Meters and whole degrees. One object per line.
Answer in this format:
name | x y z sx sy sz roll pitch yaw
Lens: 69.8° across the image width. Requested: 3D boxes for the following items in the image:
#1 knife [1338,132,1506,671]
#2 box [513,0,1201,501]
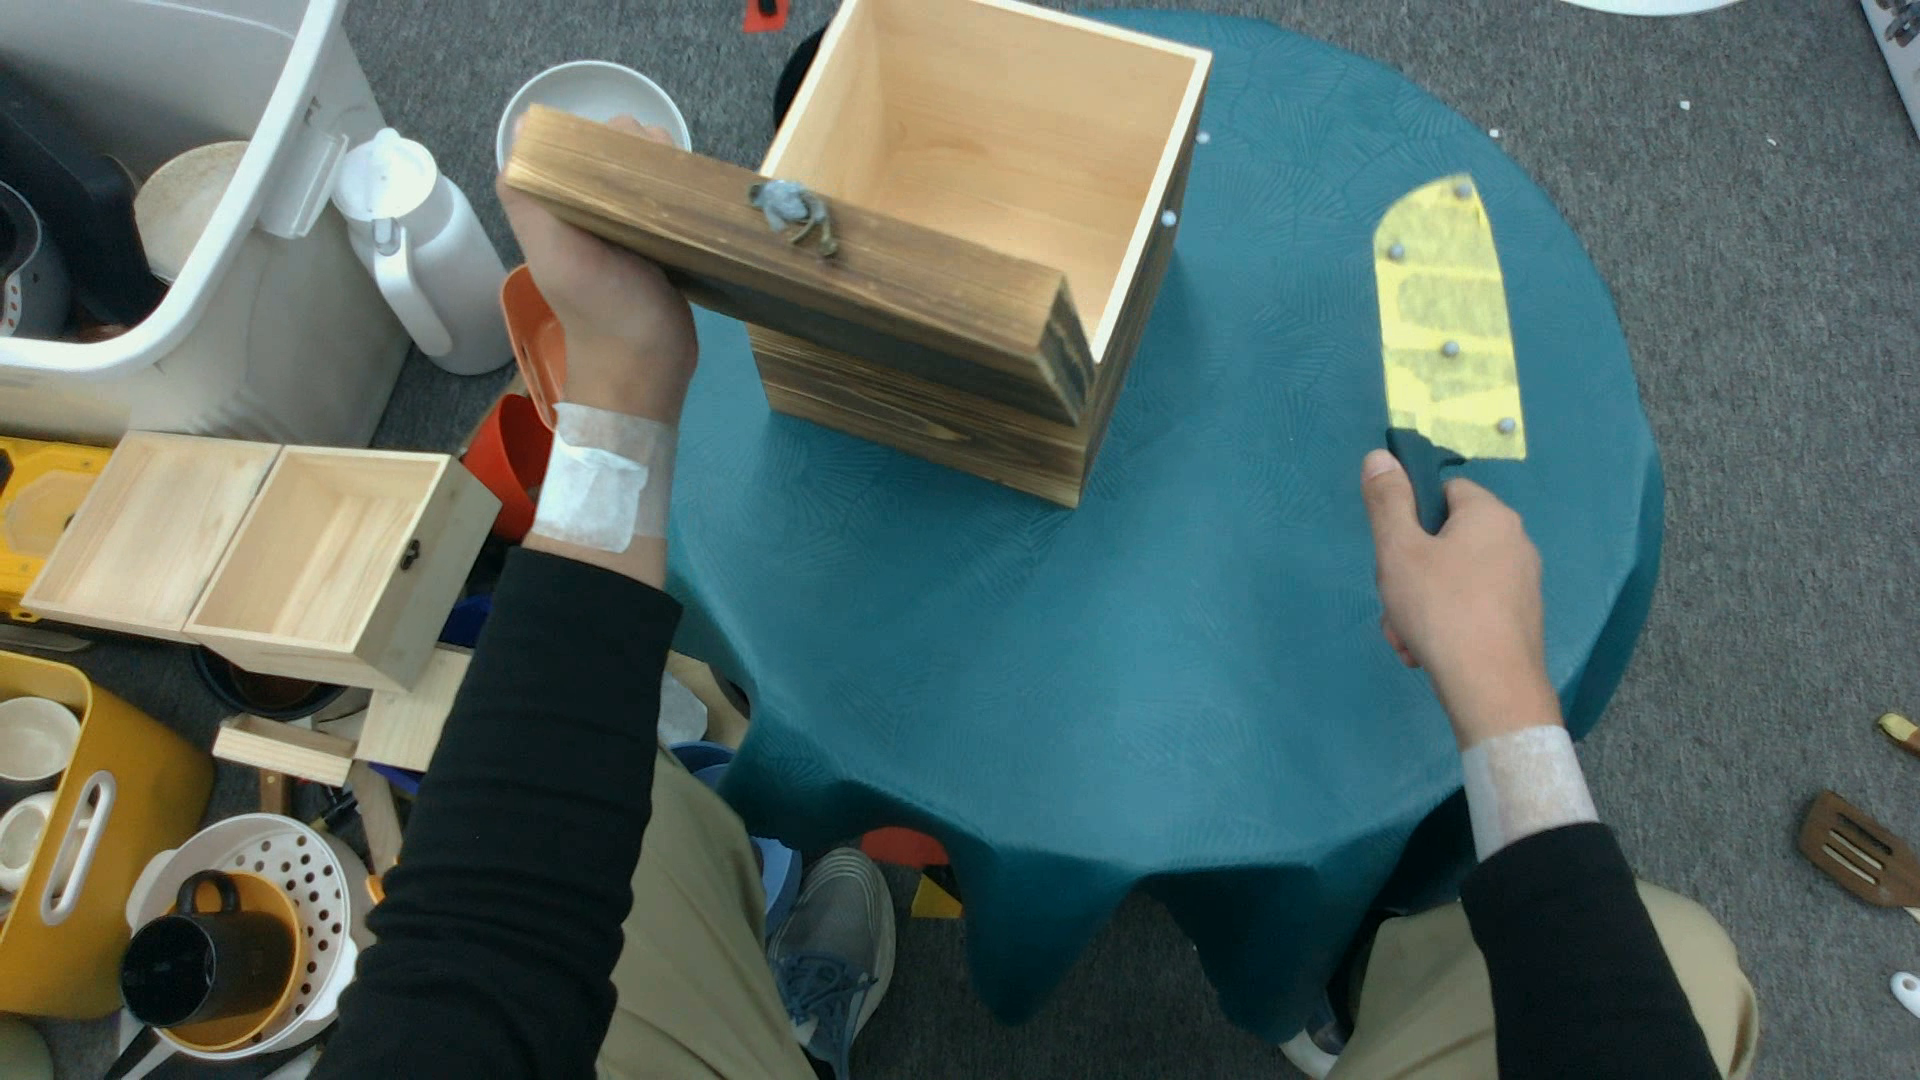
knife | 0.238 -0.077 0.702 0.081 0.027 0.290 1 77 -3
box | -0.017 -0.165 0.683 0.208 0.374 0.323 19 69 8
